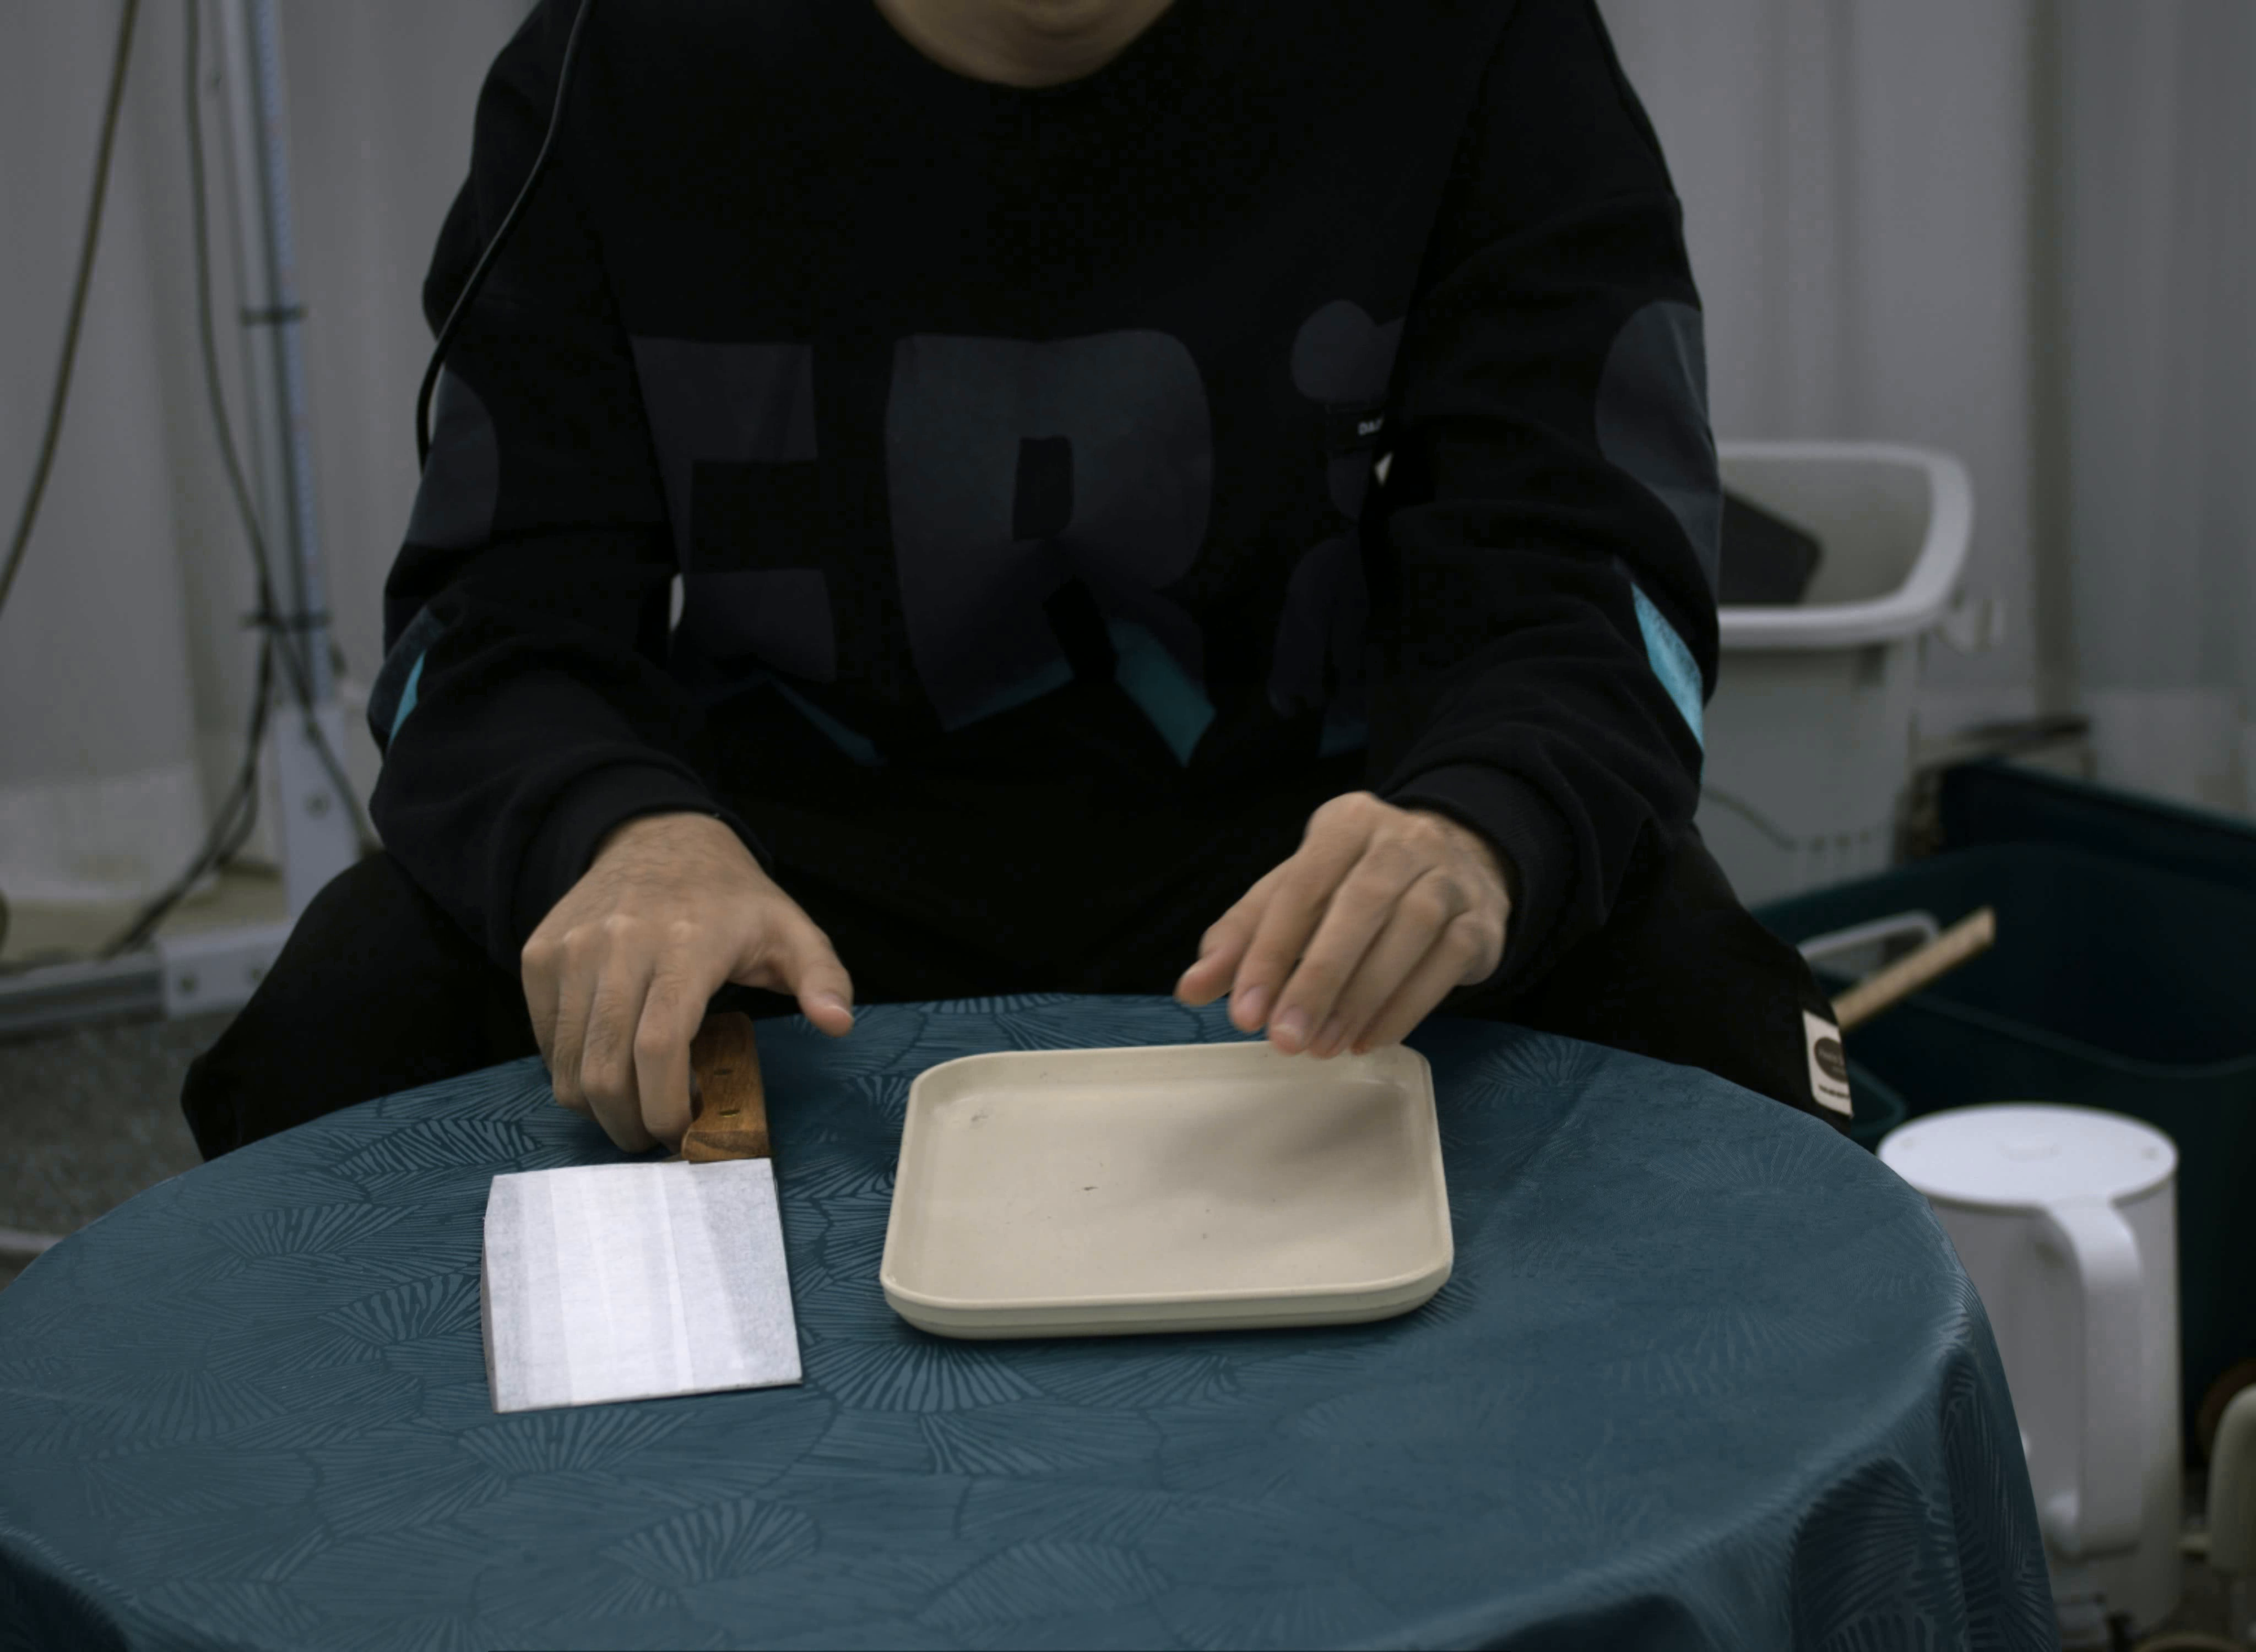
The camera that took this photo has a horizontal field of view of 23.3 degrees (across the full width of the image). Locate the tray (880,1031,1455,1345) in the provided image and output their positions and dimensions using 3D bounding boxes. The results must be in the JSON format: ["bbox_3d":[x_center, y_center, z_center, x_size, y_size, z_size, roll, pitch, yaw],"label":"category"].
[{"bbox_3d":[0.014,0.111,1.689,0.171,0.017,0.241,-4,16,3],"label":"tray"}]

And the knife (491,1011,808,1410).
[{"bbox_3d":[-0.152,0.118,1.703,0.092,0.021,0.308,-6,18,-5],"label":"knife"}]
